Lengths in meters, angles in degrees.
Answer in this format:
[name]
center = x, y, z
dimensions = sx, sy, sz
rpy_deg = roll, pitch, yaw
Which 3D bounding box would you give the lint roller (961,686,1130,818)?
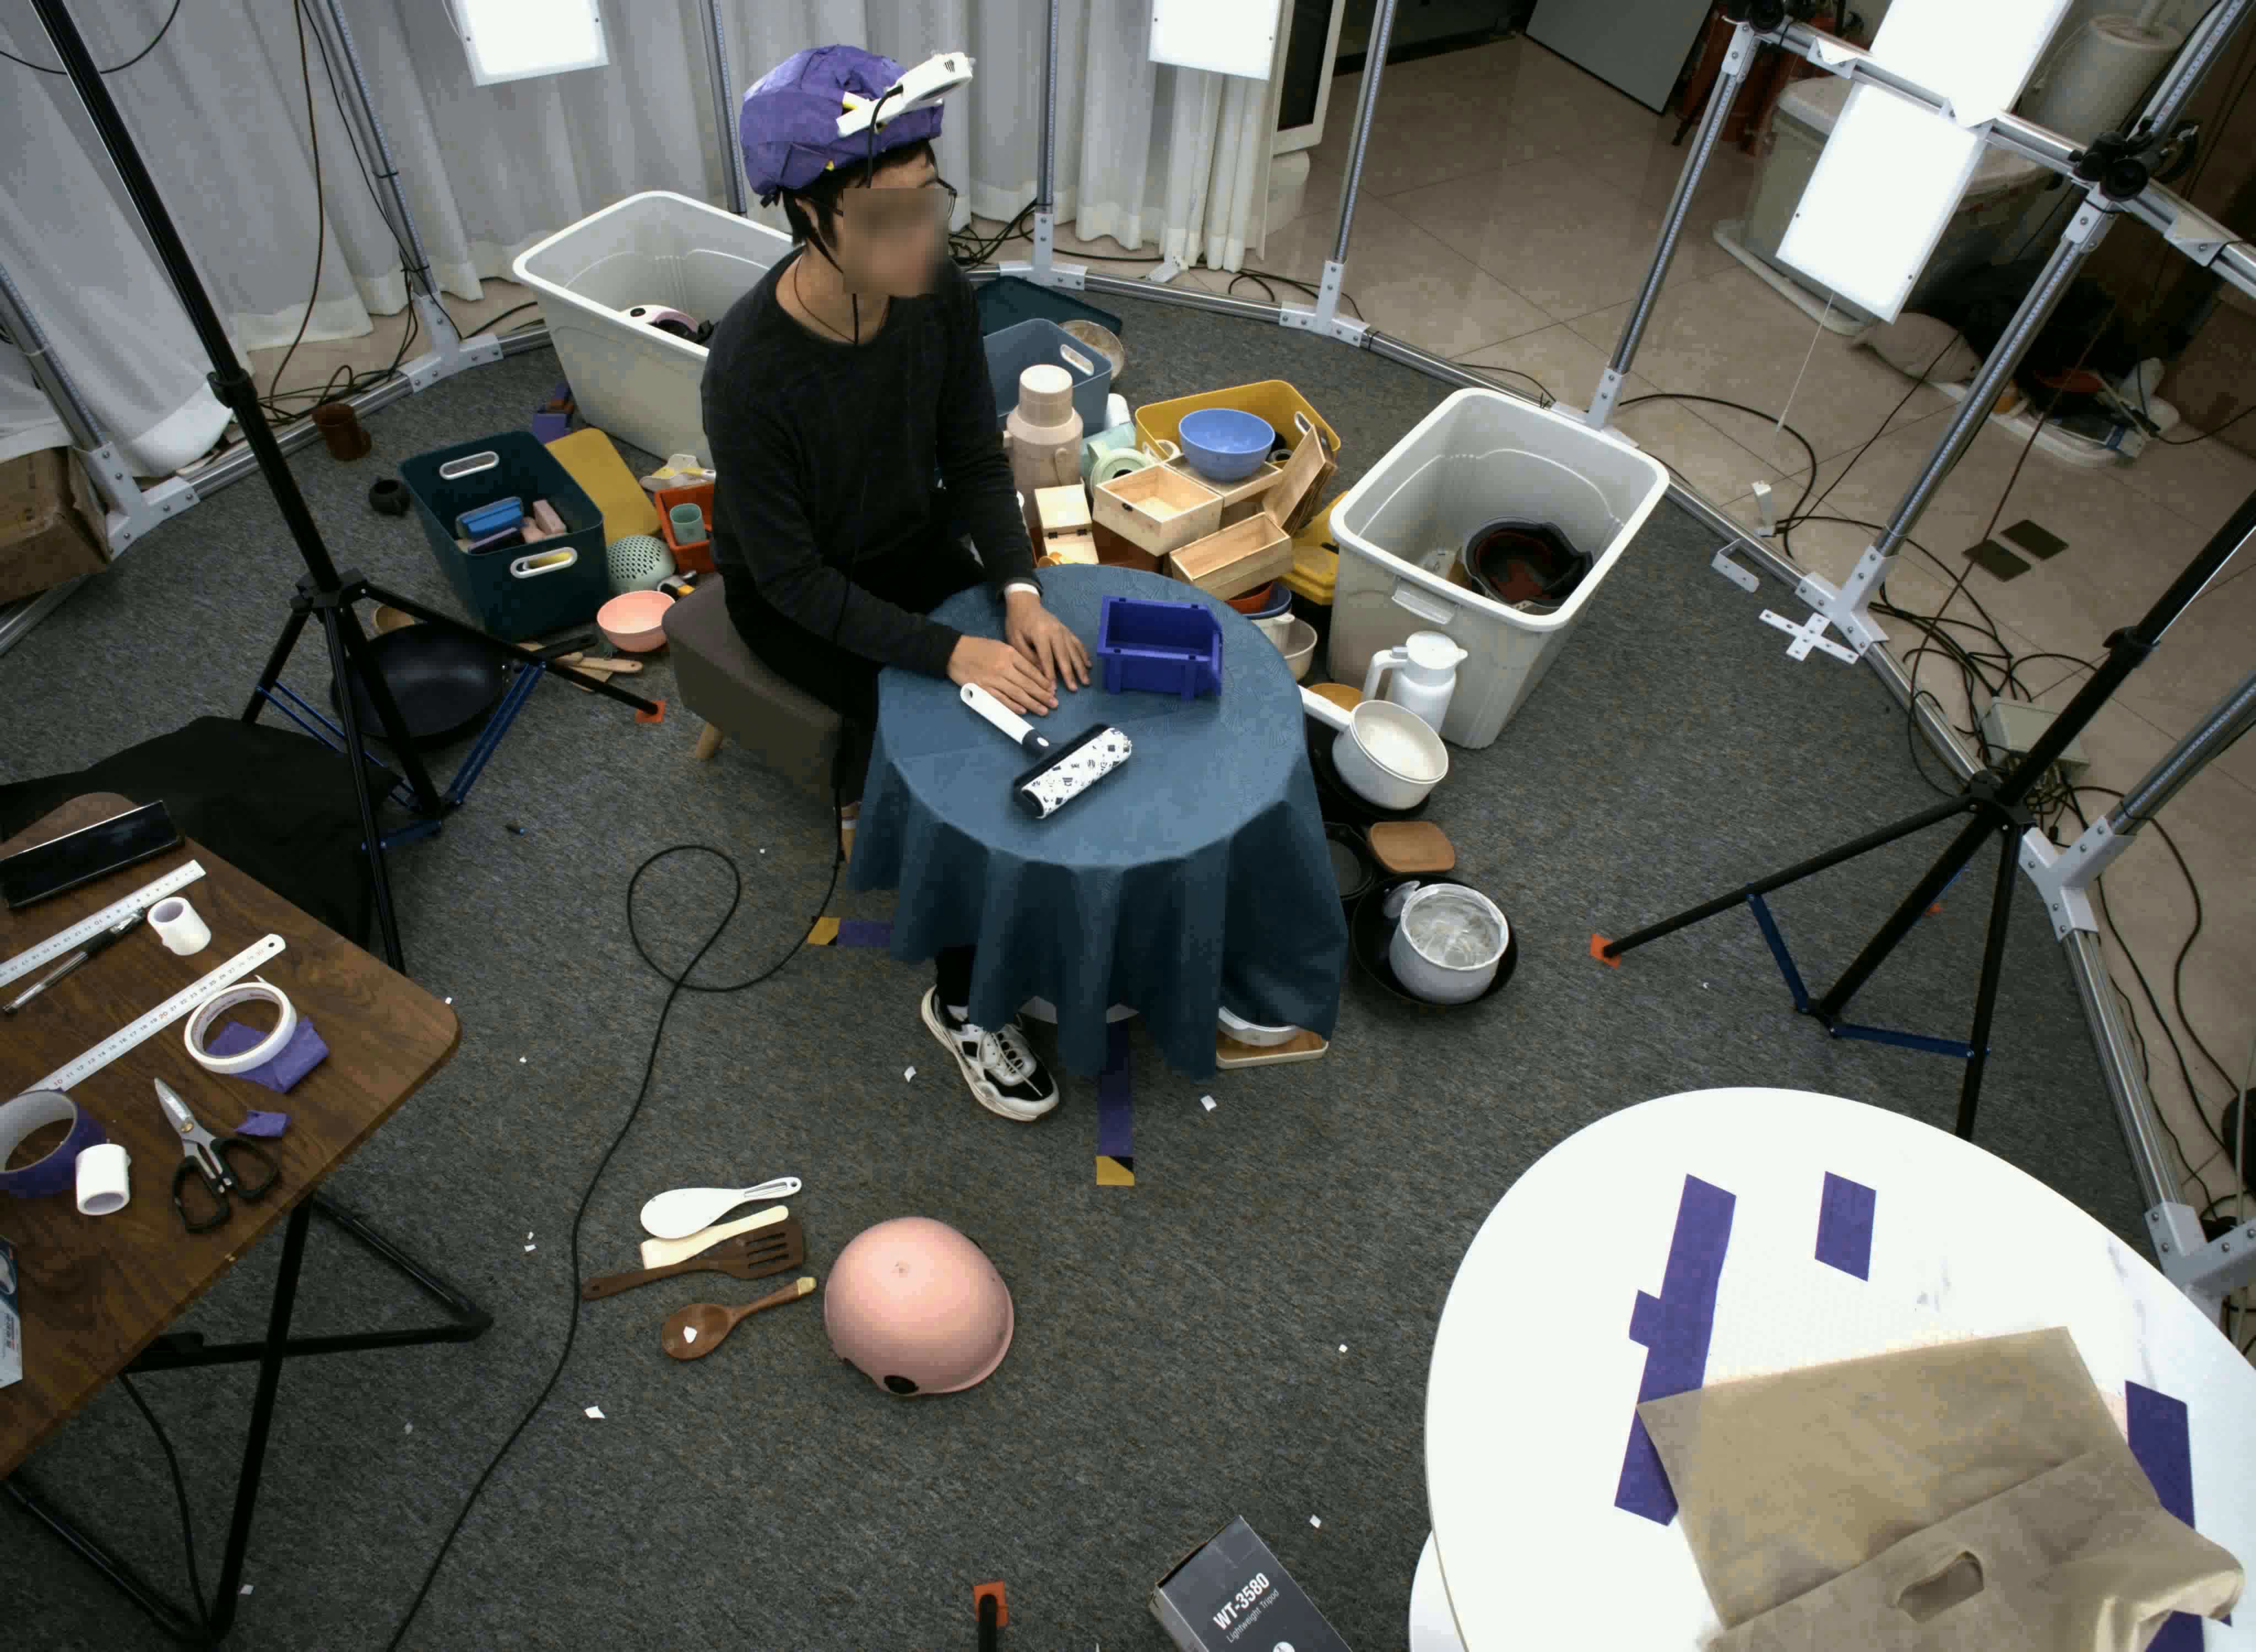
[lint roller]
center = -0.142, -0.127, 1.742
dimensions = 0.251, 0.049, 0.178
rpy_deg = 37, 57, 26

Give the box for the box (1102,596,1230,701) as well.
[box]
center = 0.057, -0.255, 1.842
dimensions = 0.179, 0.080, 0.127
rpy_deg = 4, 49, 3
